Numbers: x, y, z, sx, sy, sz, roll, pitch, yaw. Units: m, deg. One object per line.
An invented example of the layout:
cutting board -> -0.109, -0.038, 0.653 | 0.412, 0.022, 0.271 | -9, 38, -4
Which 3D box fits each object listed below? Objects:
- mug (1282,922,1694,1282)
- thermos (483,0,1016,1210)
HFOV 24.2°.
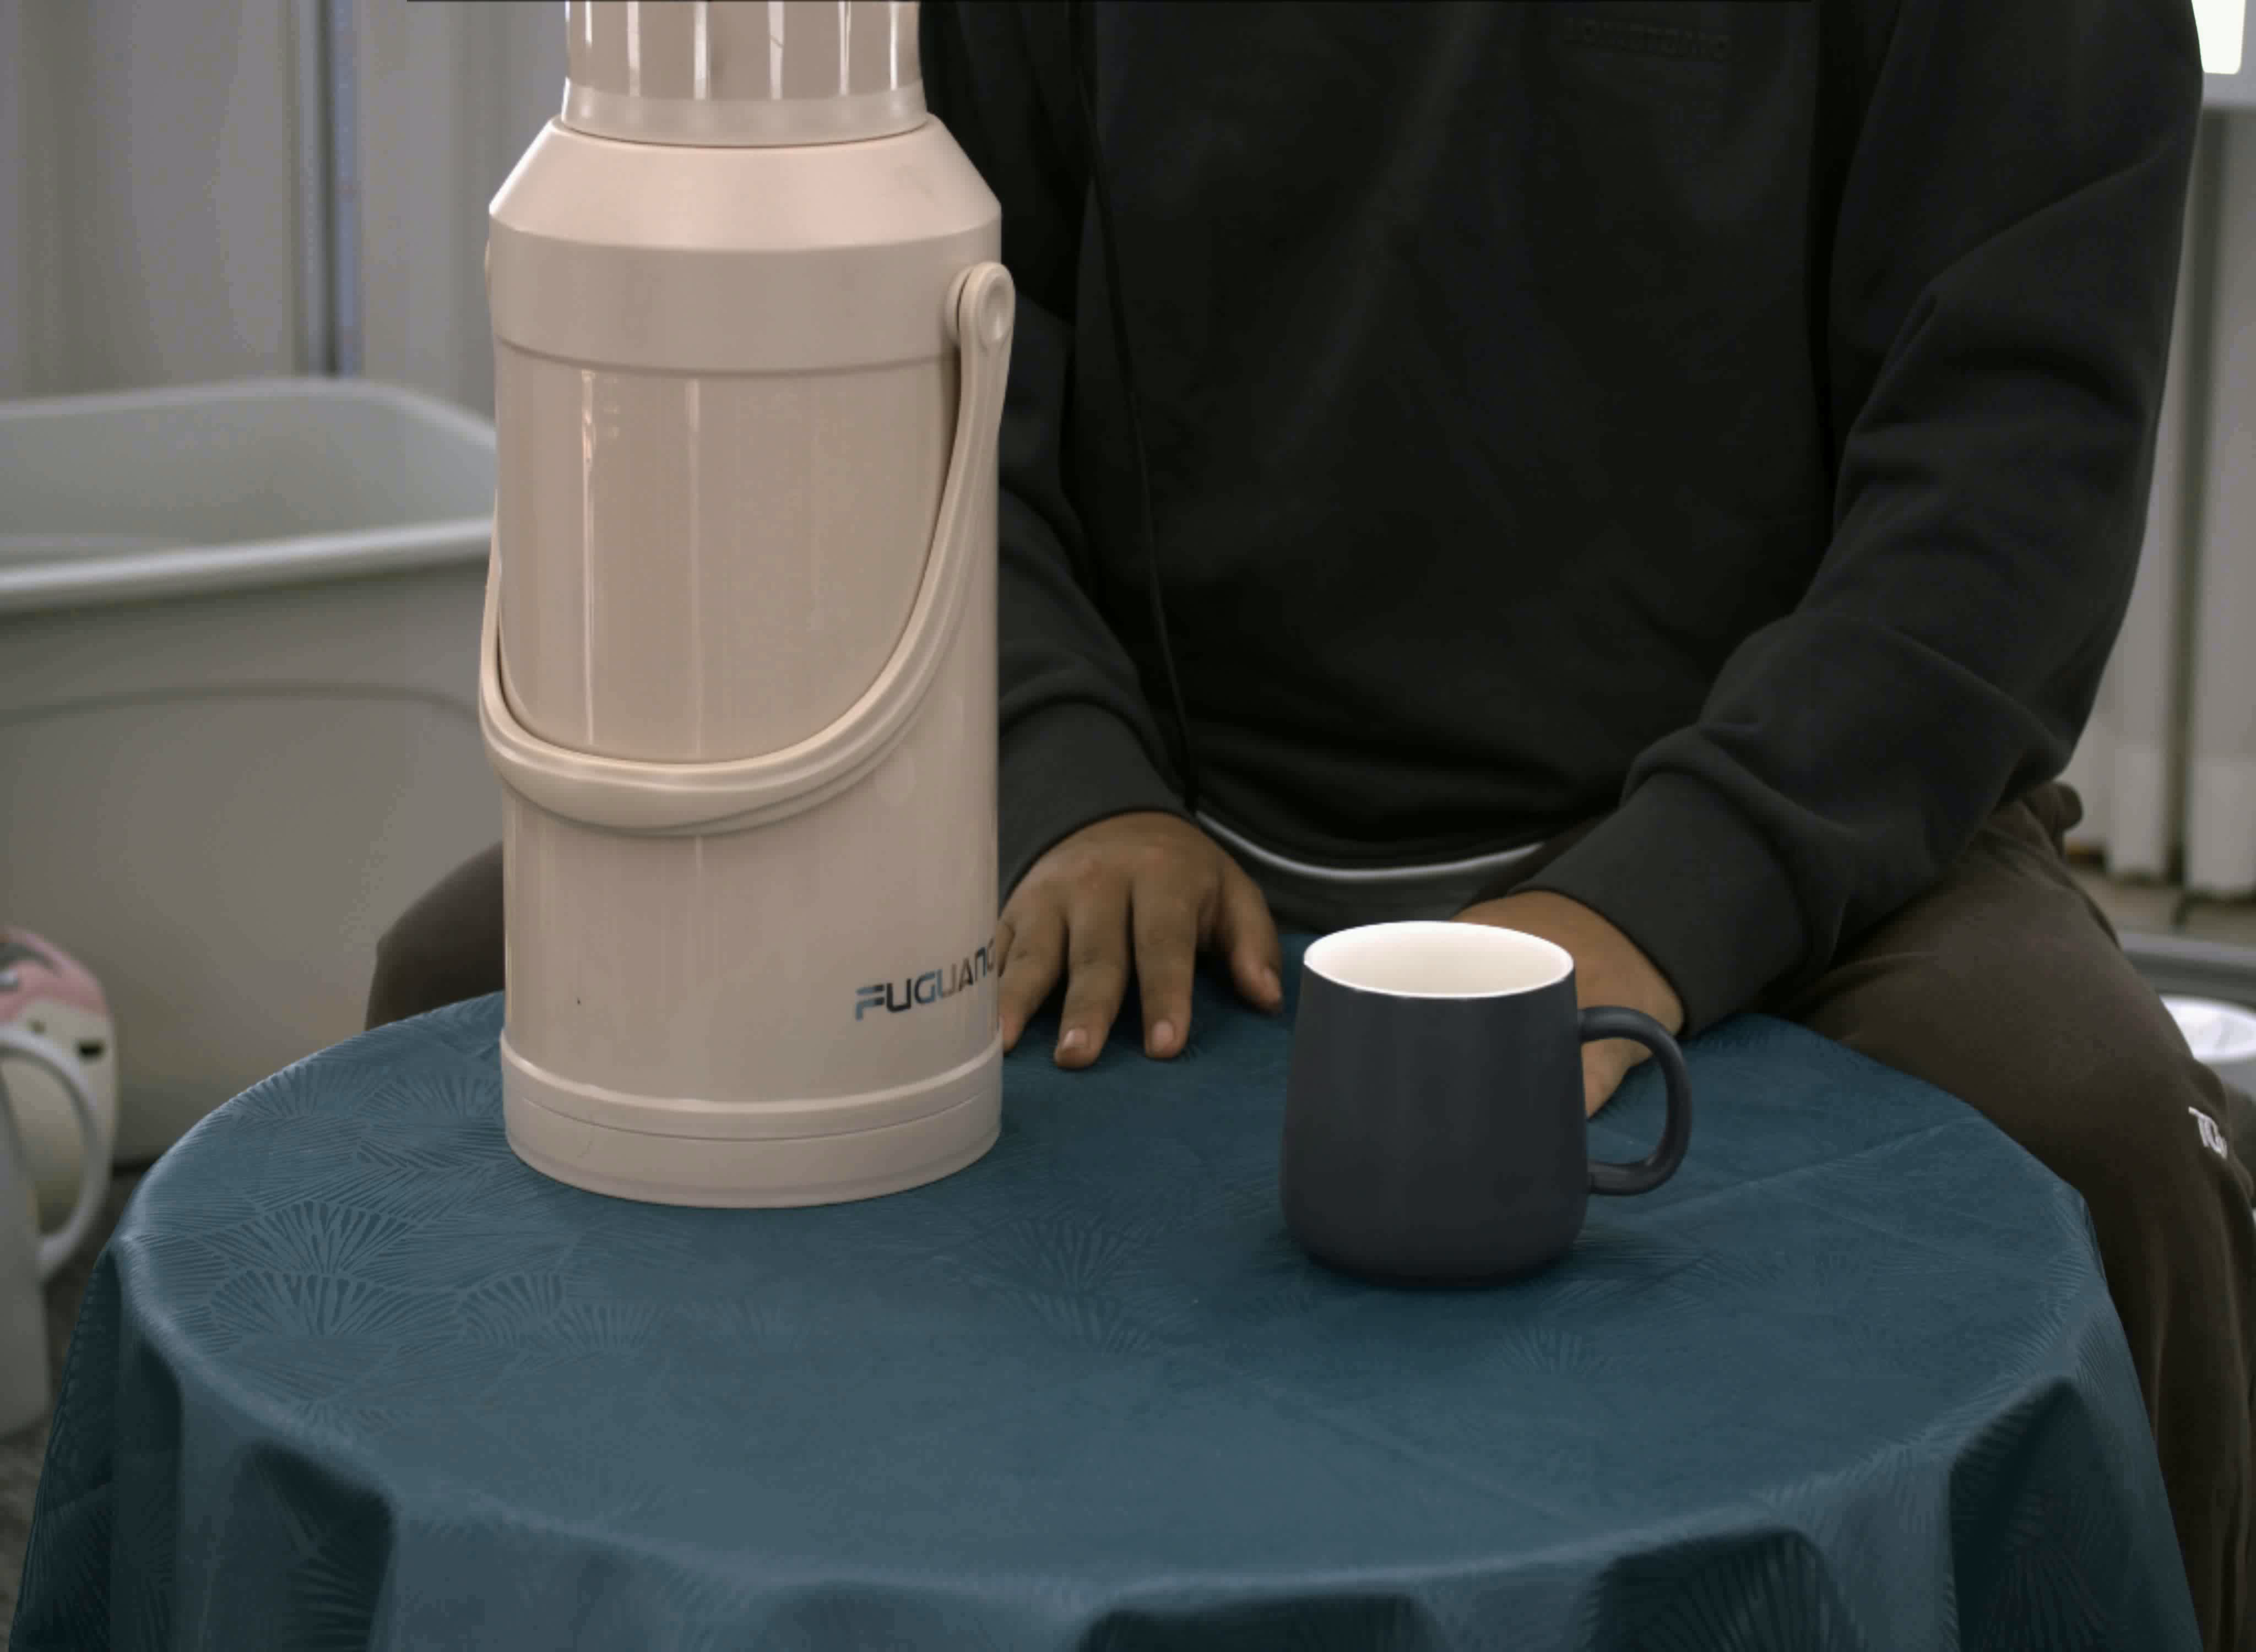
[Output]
mug -> 0.107, 0.082, 1.570 | 0.123, 0.090, 0.093 | 1, 16, 2
thermos -> -0.108, -0.099, 1.636 | 0.173, 0.410, 0.207 | 8, 18, 26
